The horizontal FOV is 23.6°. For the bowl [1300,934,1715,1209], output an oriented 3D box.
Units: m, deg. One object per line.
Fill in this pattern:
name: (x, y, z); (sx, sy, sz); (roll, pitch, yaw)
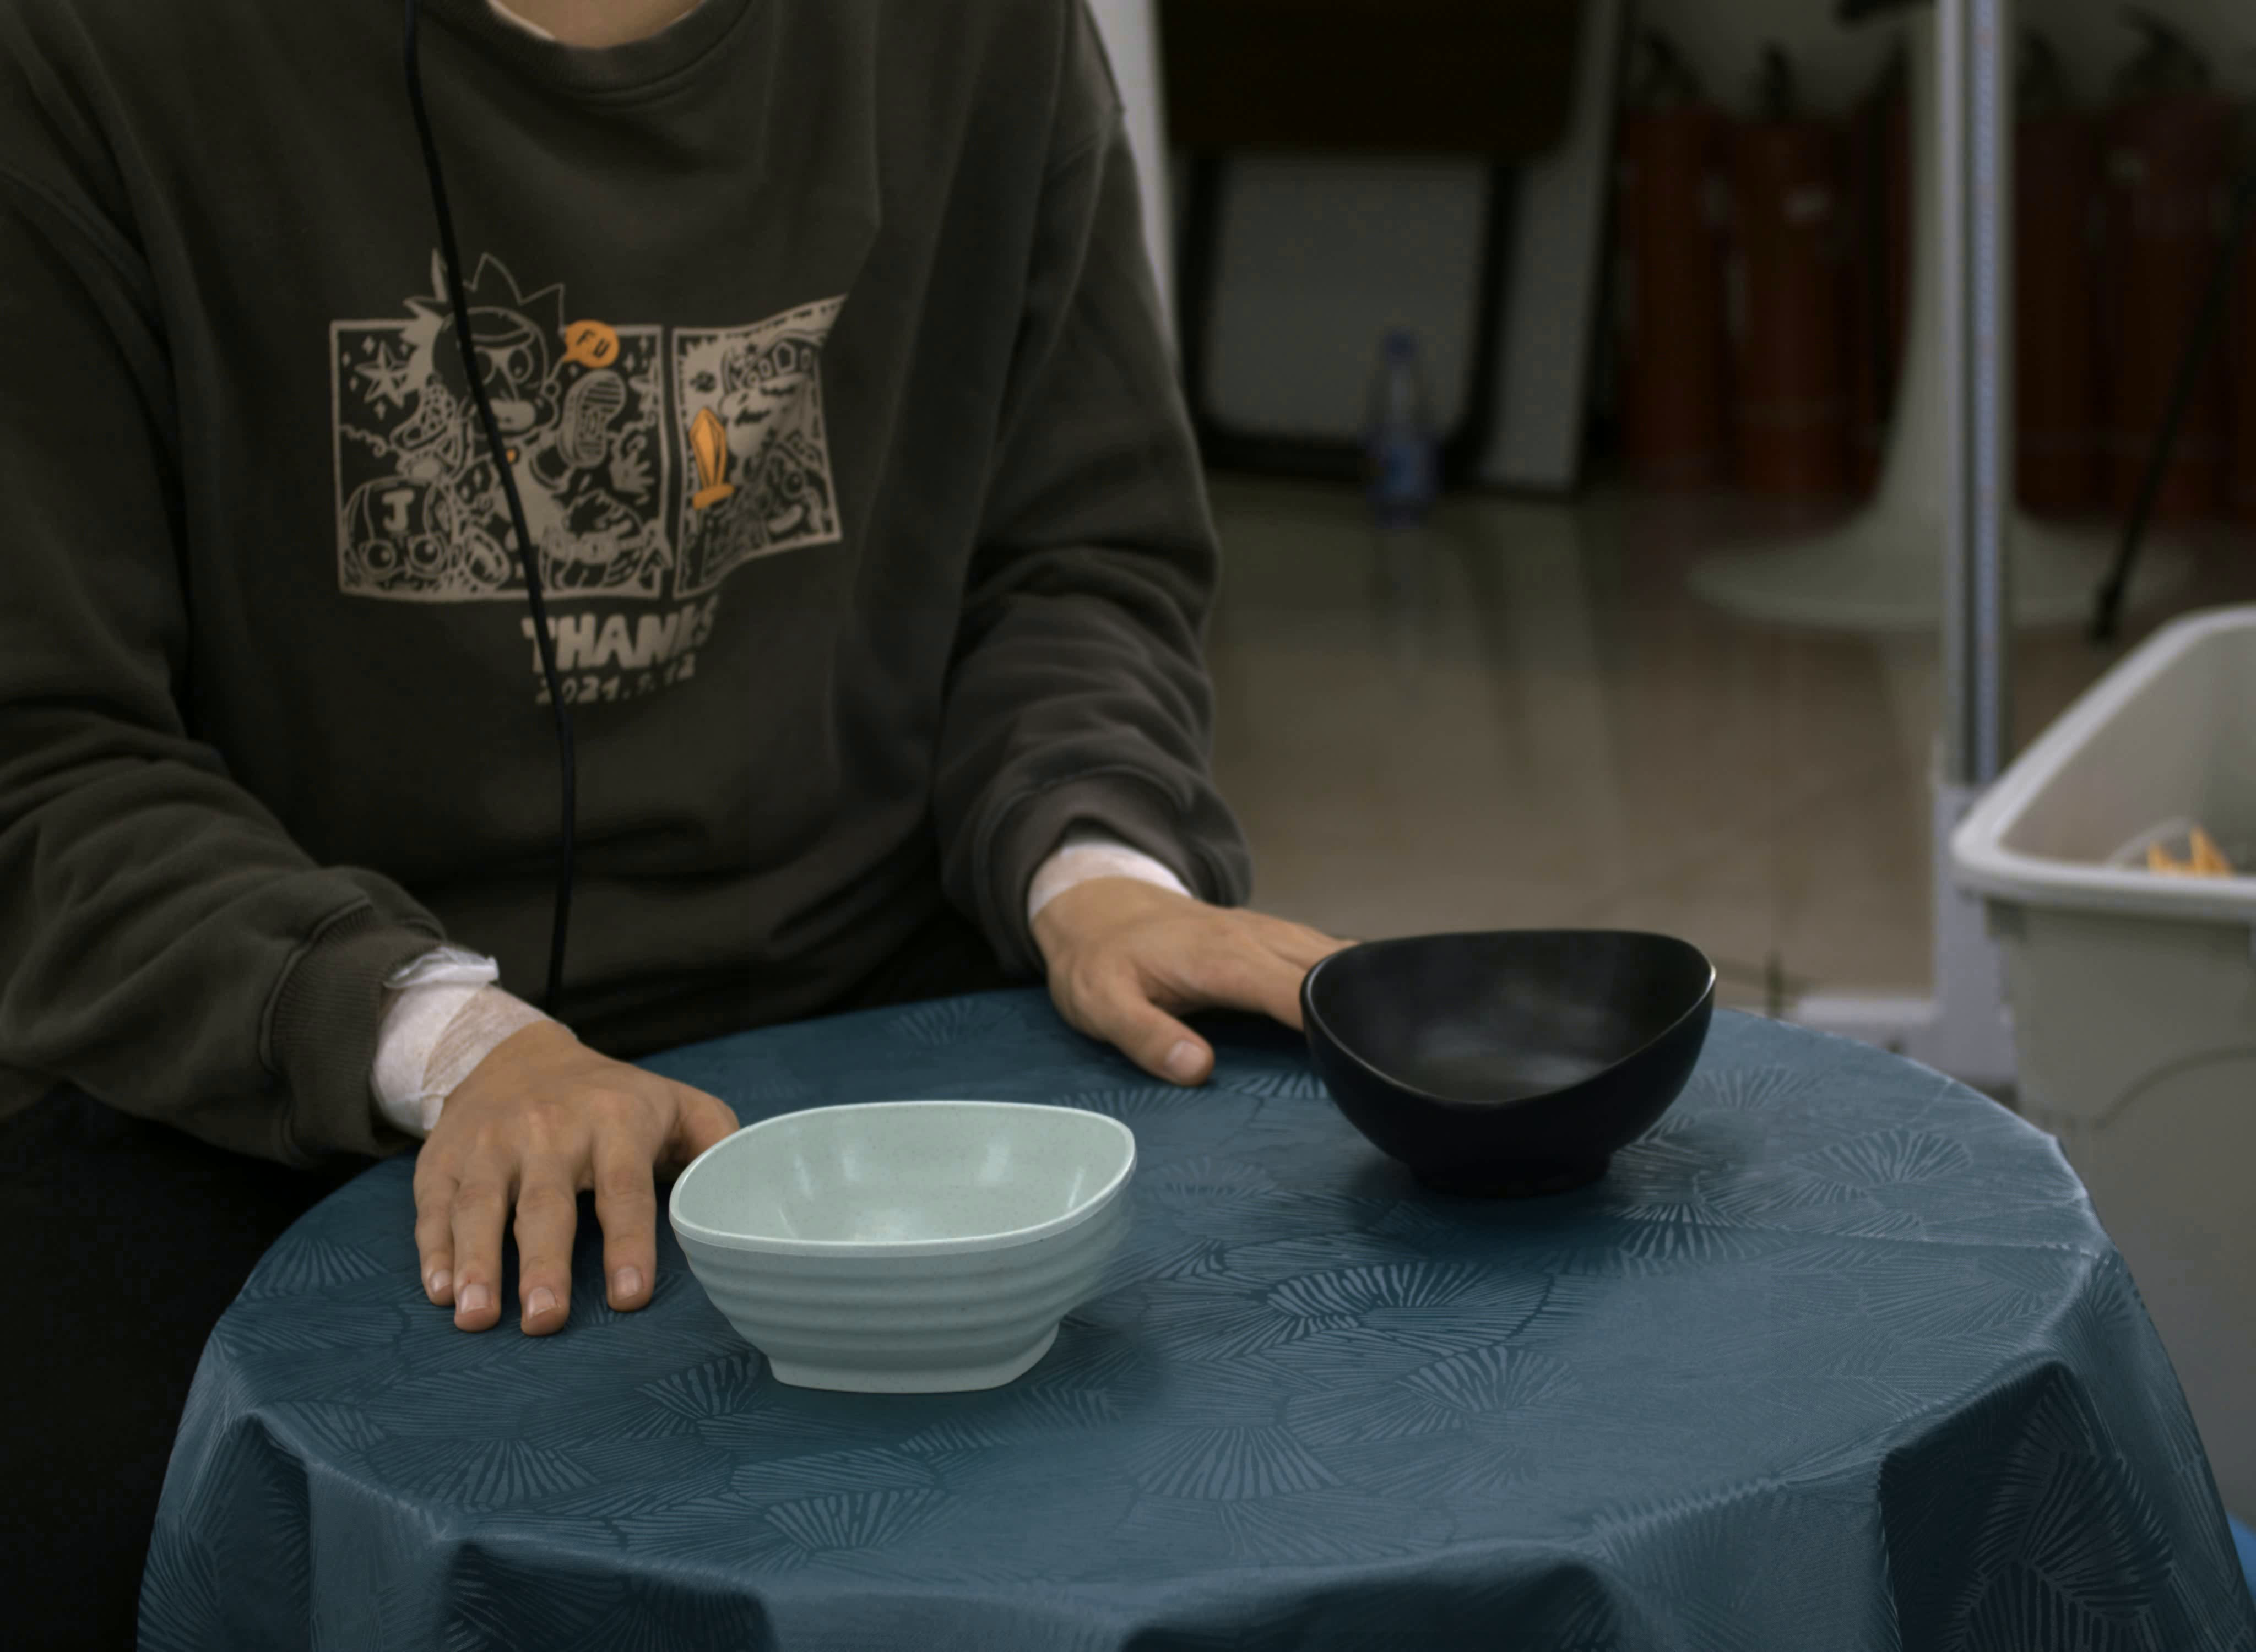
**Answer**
bowl: (0.125, 0.084, 1.762); (0.136, 0.067, 0.170); (-2, 15, 8)

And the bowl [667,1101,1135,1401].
bowl: (-0.067, 0.132, 1.632); (0.149, 0.059, 0.152); (-2, 14, 0)
